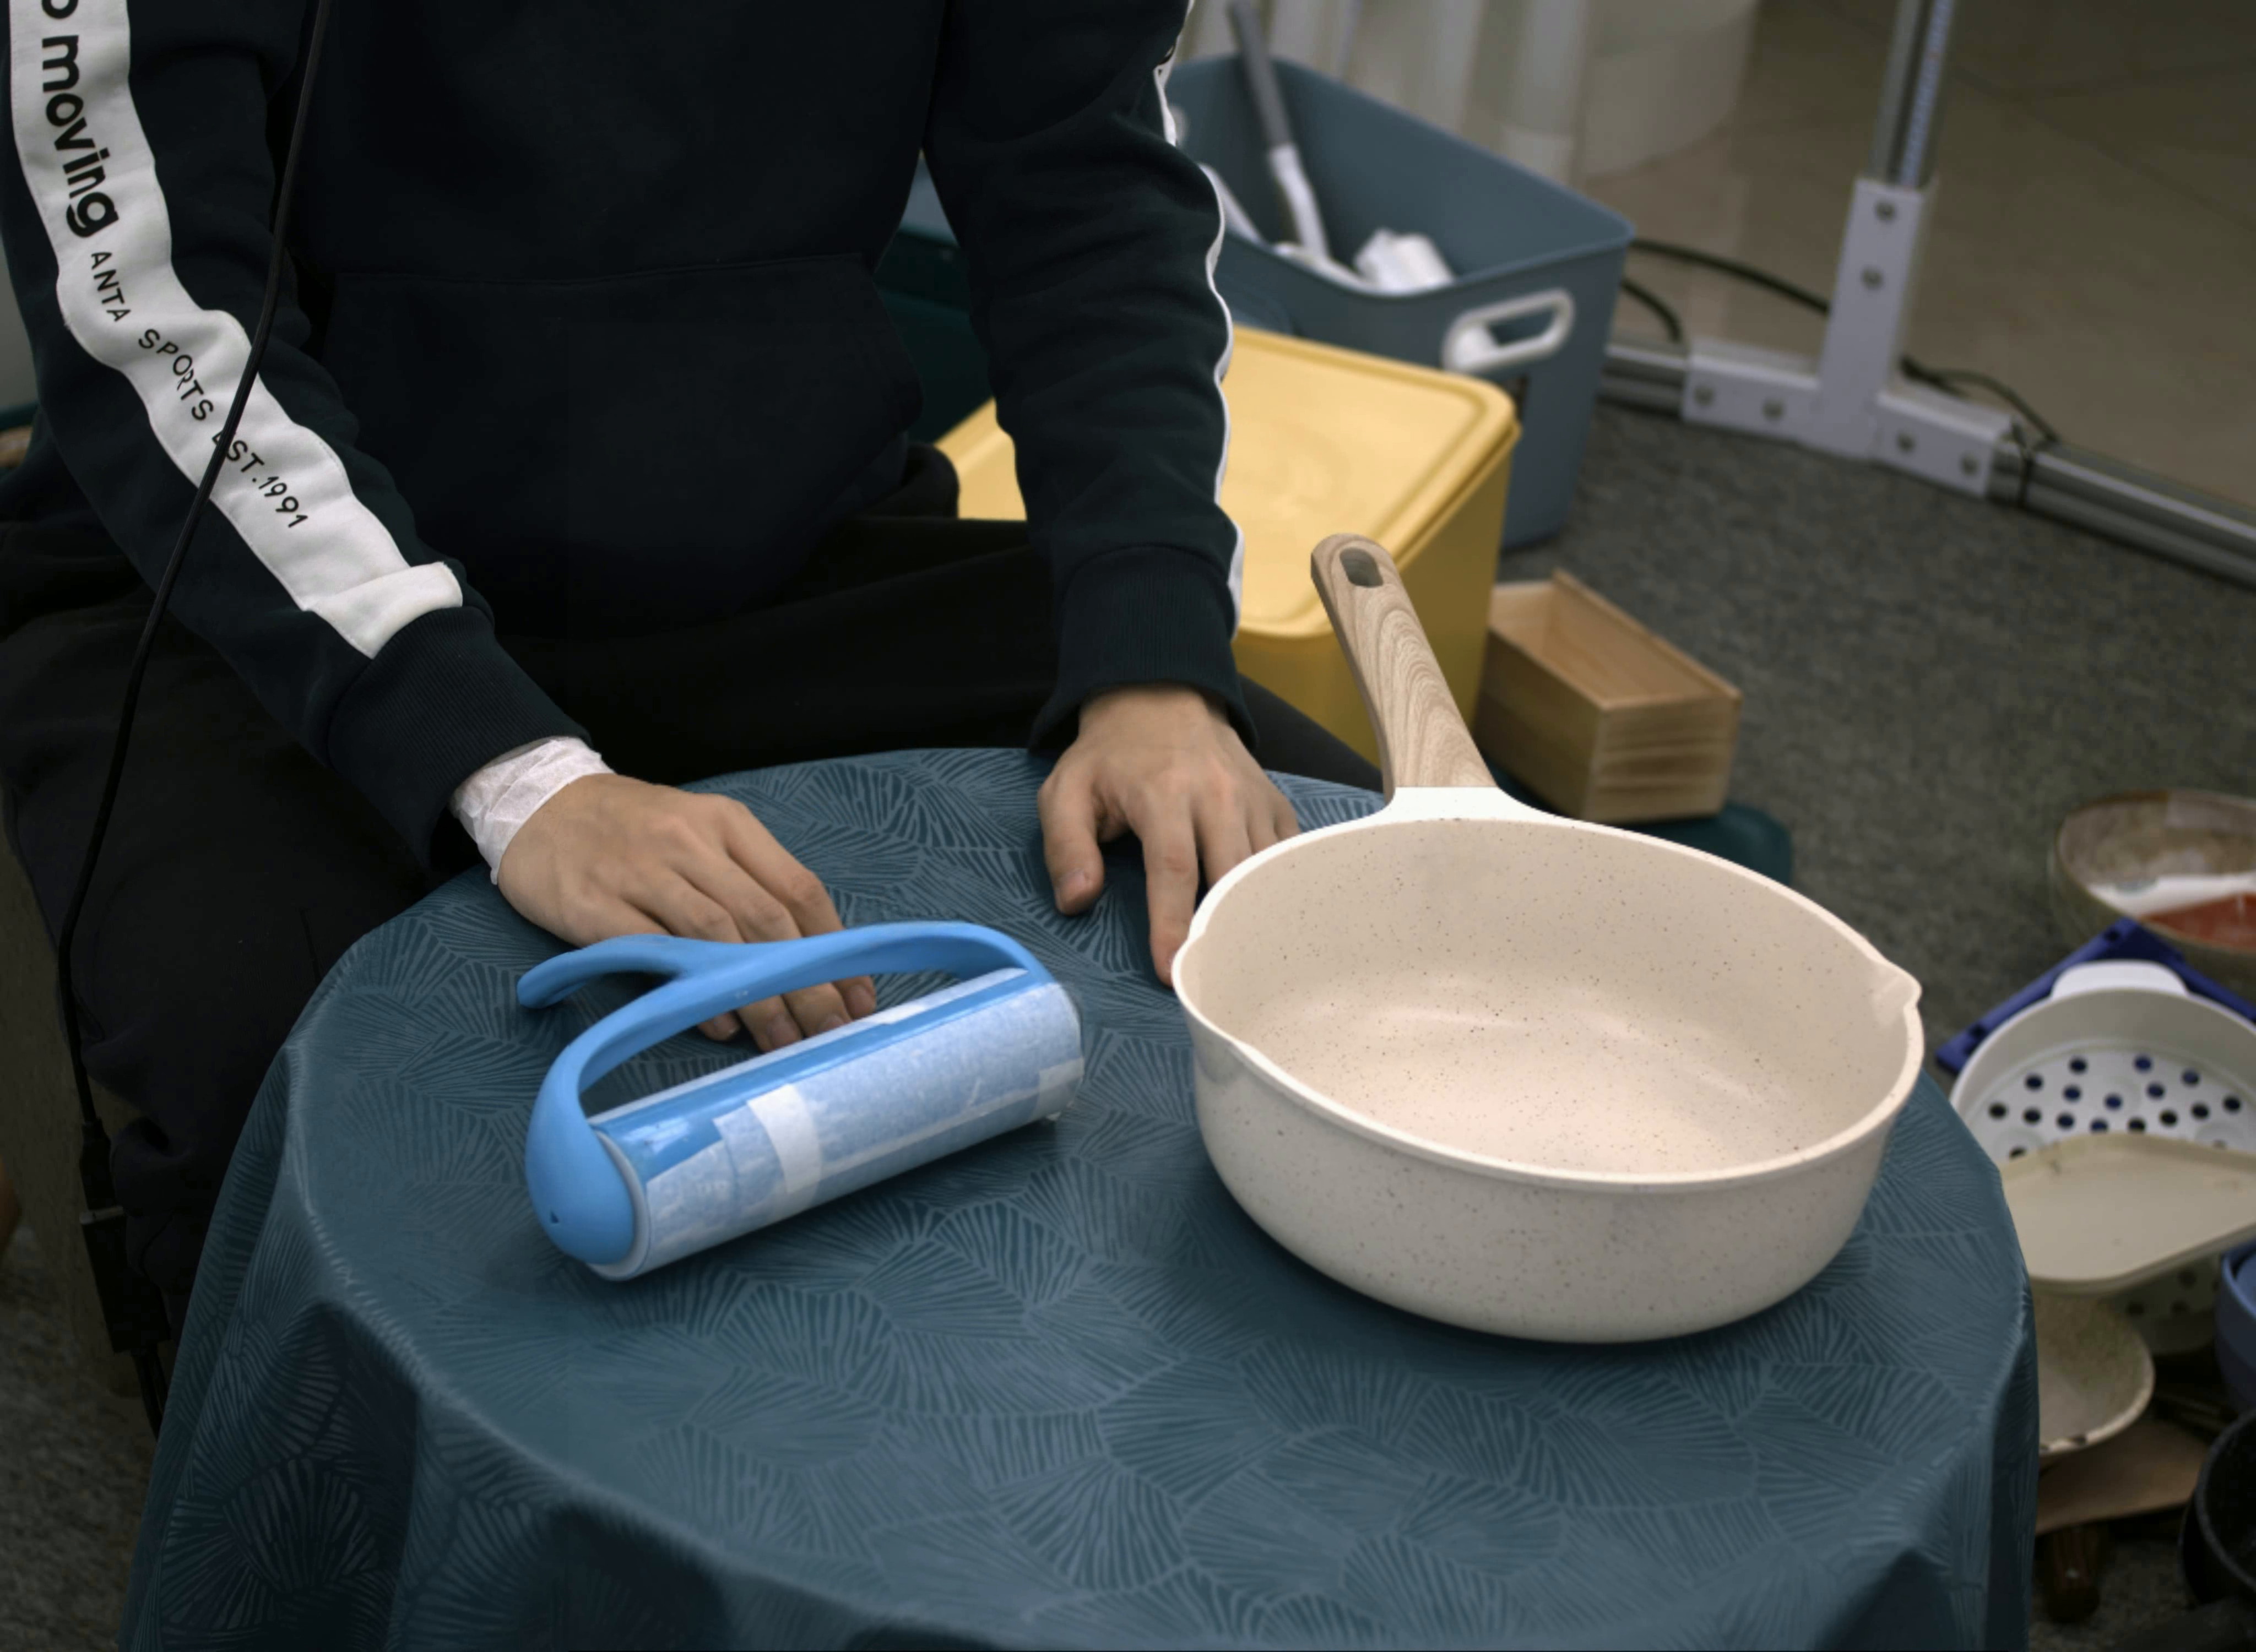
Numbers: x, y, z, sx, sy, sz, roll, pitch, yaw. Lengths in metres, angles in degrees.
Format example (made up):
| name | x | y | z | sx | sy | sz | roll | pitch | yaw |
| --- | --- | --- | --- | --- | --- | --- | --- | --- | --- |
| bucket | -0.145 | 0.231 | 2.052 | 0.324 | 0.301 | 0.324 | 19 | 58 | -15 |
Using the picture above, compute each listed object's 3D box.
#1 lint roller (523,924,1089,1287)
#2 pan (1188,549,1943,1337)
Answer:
| name | x | y | z | sx | sy | sz | roll | pitch | yaw |
| --- | --- | --- | --- | --- | --- | --- | --- | --- | --- |
| lint roller | -0.143 | 0.074 | 1.802 | 0.181 | 0.067 | 0.228 | 28 | 35 | 35 |
| pan | 0.125 | 0.038 | 1.883 | 0.262 | 0.101 | 0.438 | -2 | 28 | -13 |
